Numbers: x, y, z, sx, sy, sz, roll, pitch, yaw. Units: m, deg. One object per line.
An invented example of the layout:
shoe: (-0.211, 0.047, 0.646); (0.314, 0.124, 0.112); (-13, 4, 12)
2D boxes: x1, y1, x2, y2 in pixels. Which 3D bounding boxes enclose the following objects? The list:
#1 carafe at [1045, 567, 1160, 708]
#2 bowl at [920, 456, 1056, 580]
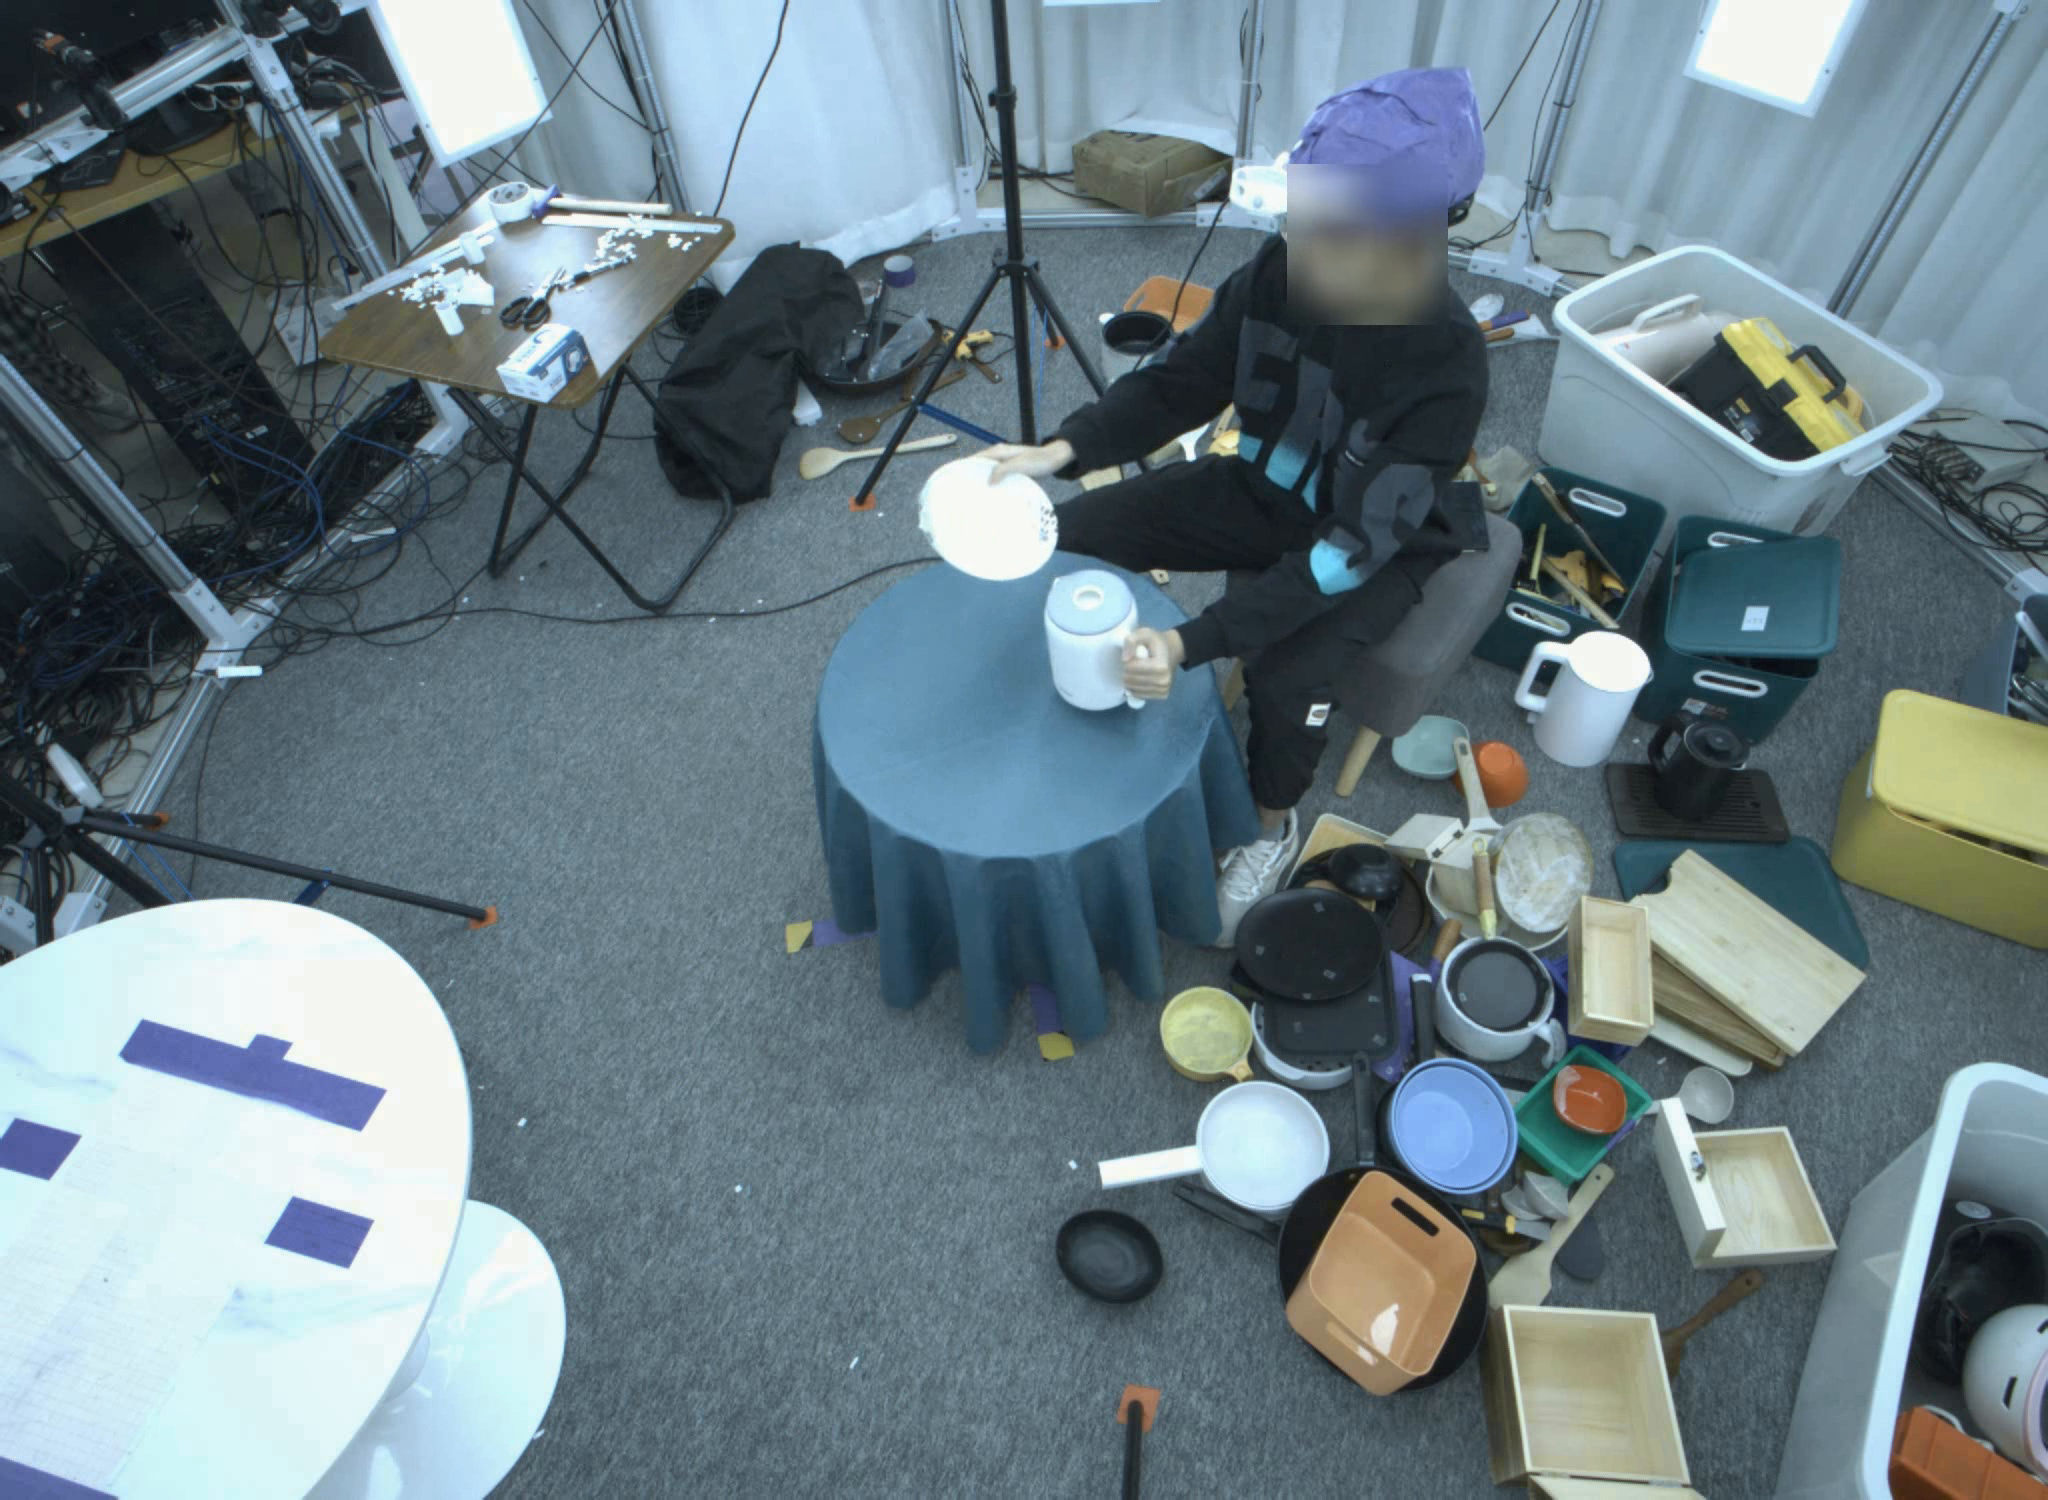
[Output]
carafe: (0.116, -0.145, 1.738); (0.133, 0.185, 0.187); (-42, 63, -19)
bowl: (-0.063, -0.313, 1.738); (0.207, 0.077, 0.202); (11, 63, -21)
